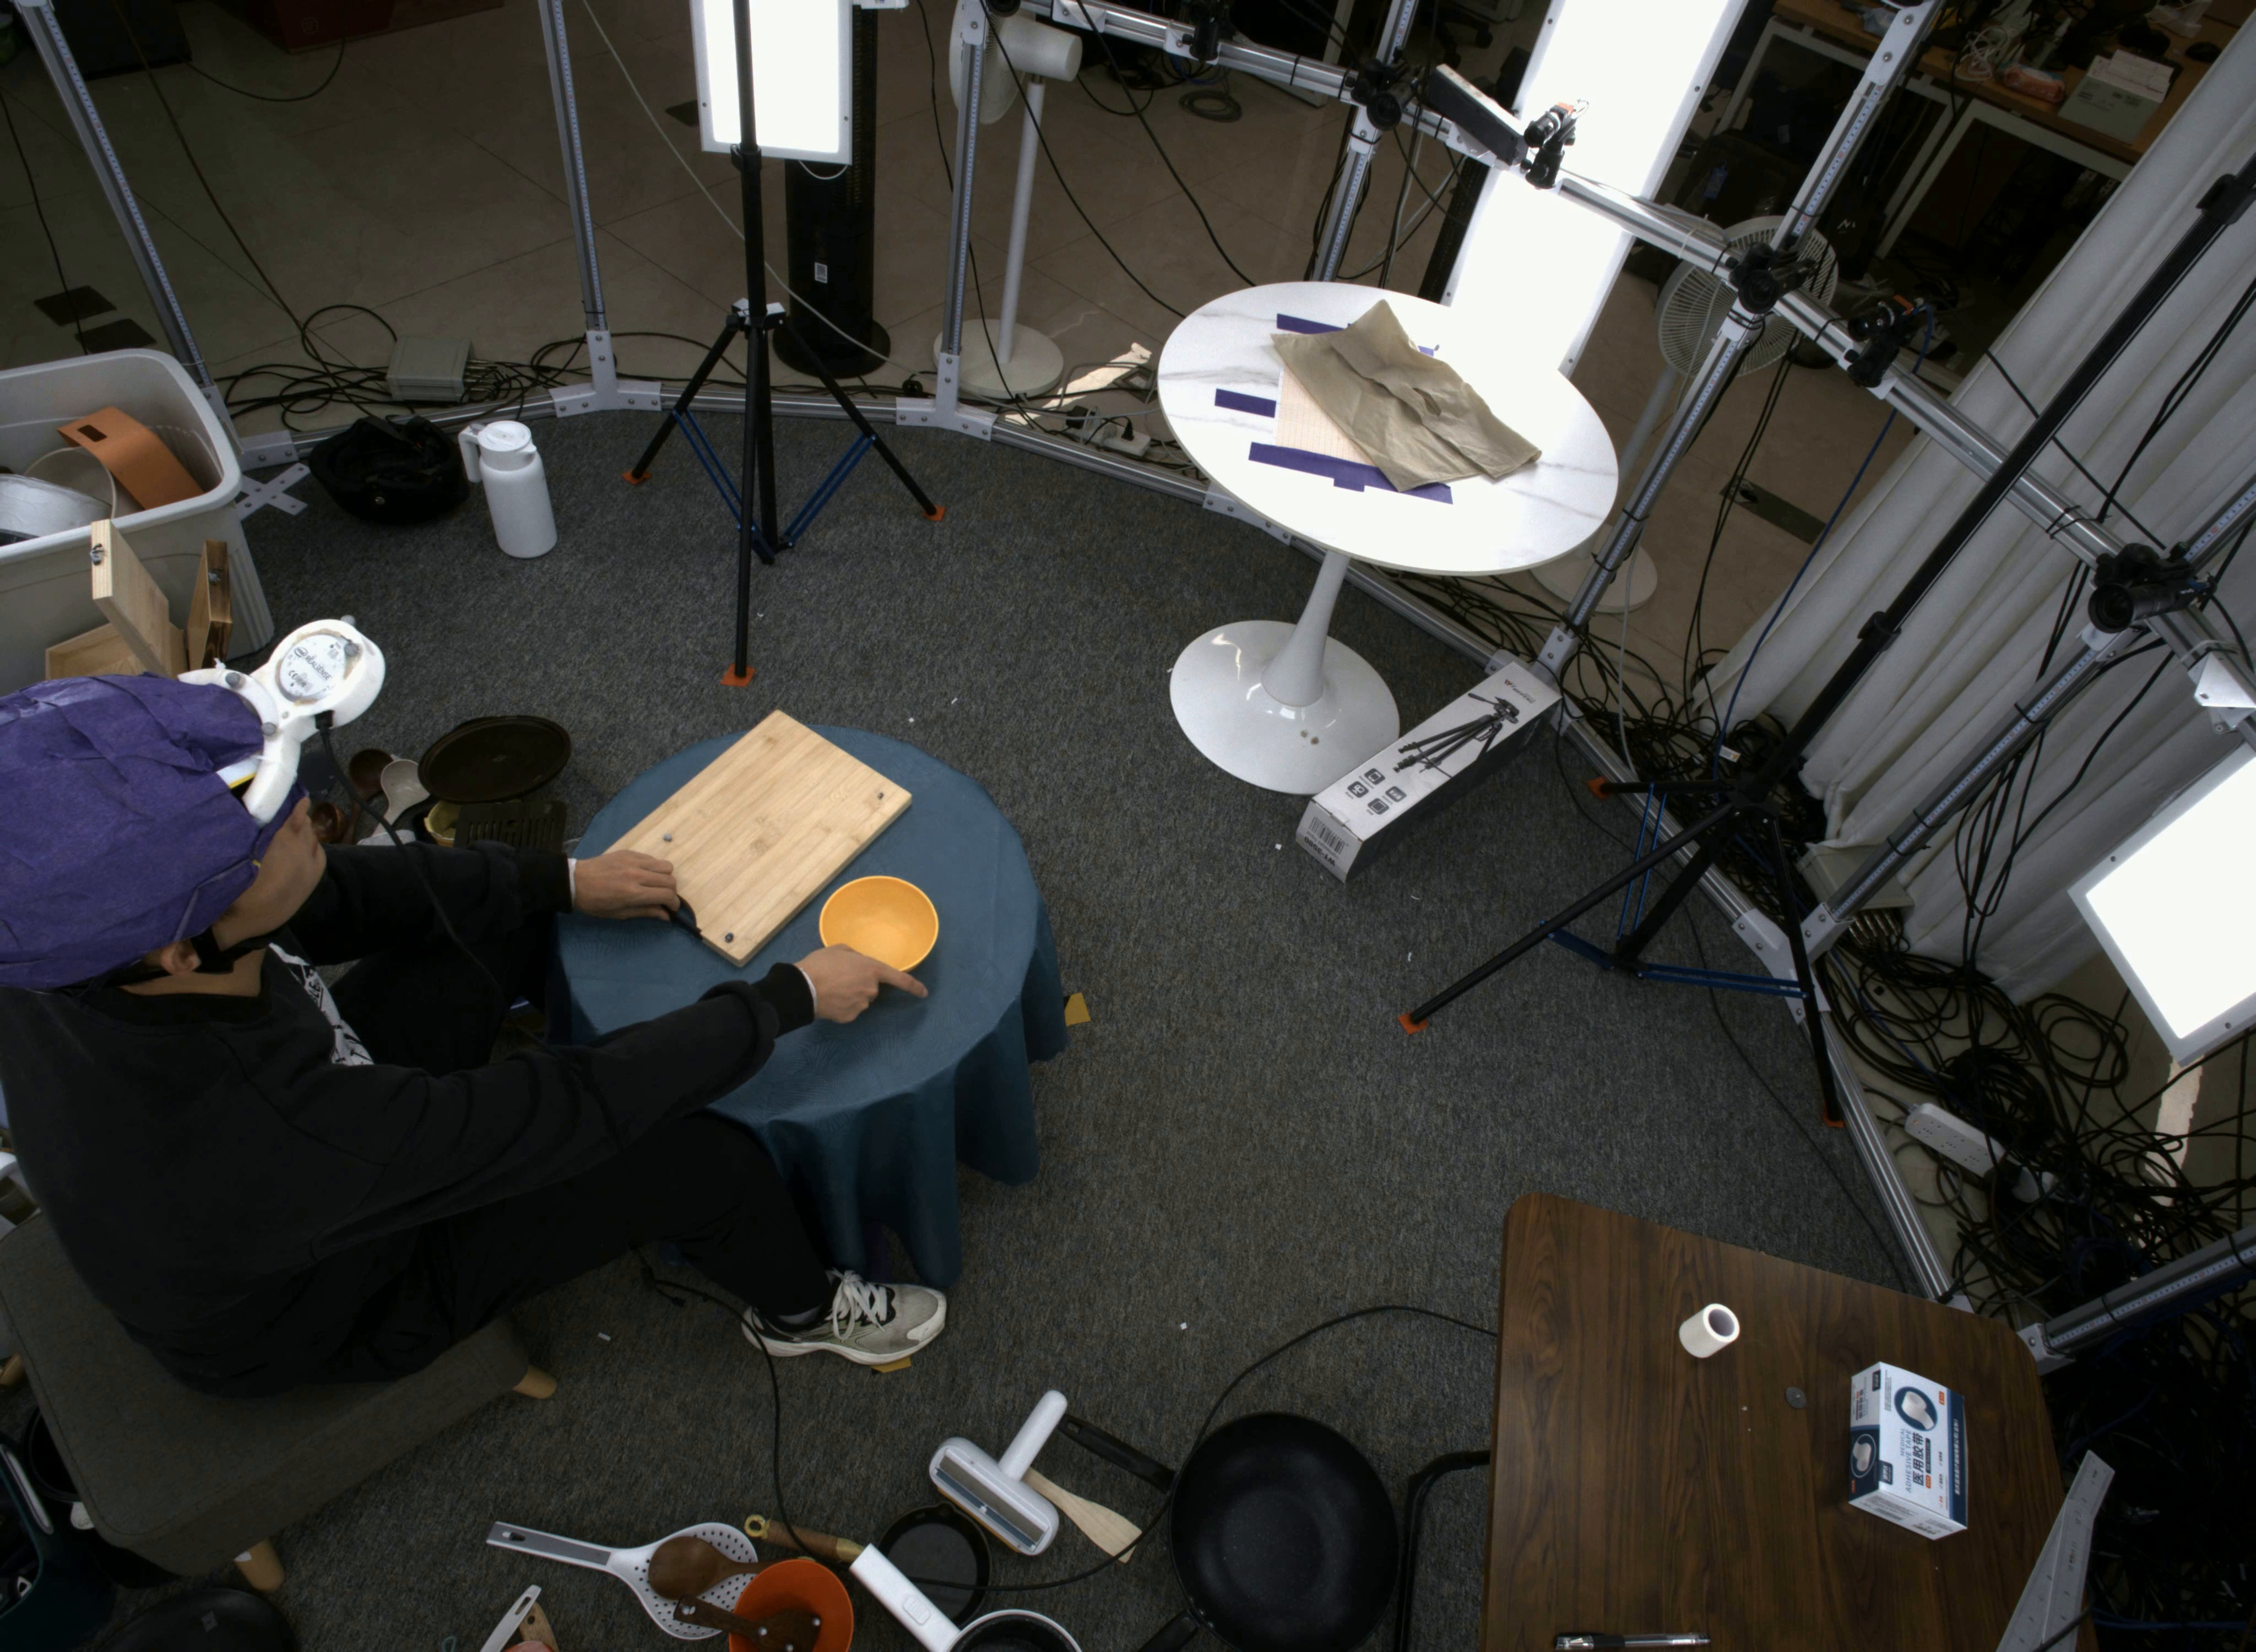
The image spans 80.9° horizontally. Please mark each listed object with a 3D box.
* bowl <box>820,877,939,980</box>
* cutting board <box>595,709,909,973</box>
[{"bbox_3d":[-0.308,0.137,1.621,0.144,0.061,0.143,6,53,-6],"label":"bowl"},{"bbox_3d":[-0.487,0.008,1.697,0.246,0.024,0.347,31,53,10],"label":"cutting board"}]
